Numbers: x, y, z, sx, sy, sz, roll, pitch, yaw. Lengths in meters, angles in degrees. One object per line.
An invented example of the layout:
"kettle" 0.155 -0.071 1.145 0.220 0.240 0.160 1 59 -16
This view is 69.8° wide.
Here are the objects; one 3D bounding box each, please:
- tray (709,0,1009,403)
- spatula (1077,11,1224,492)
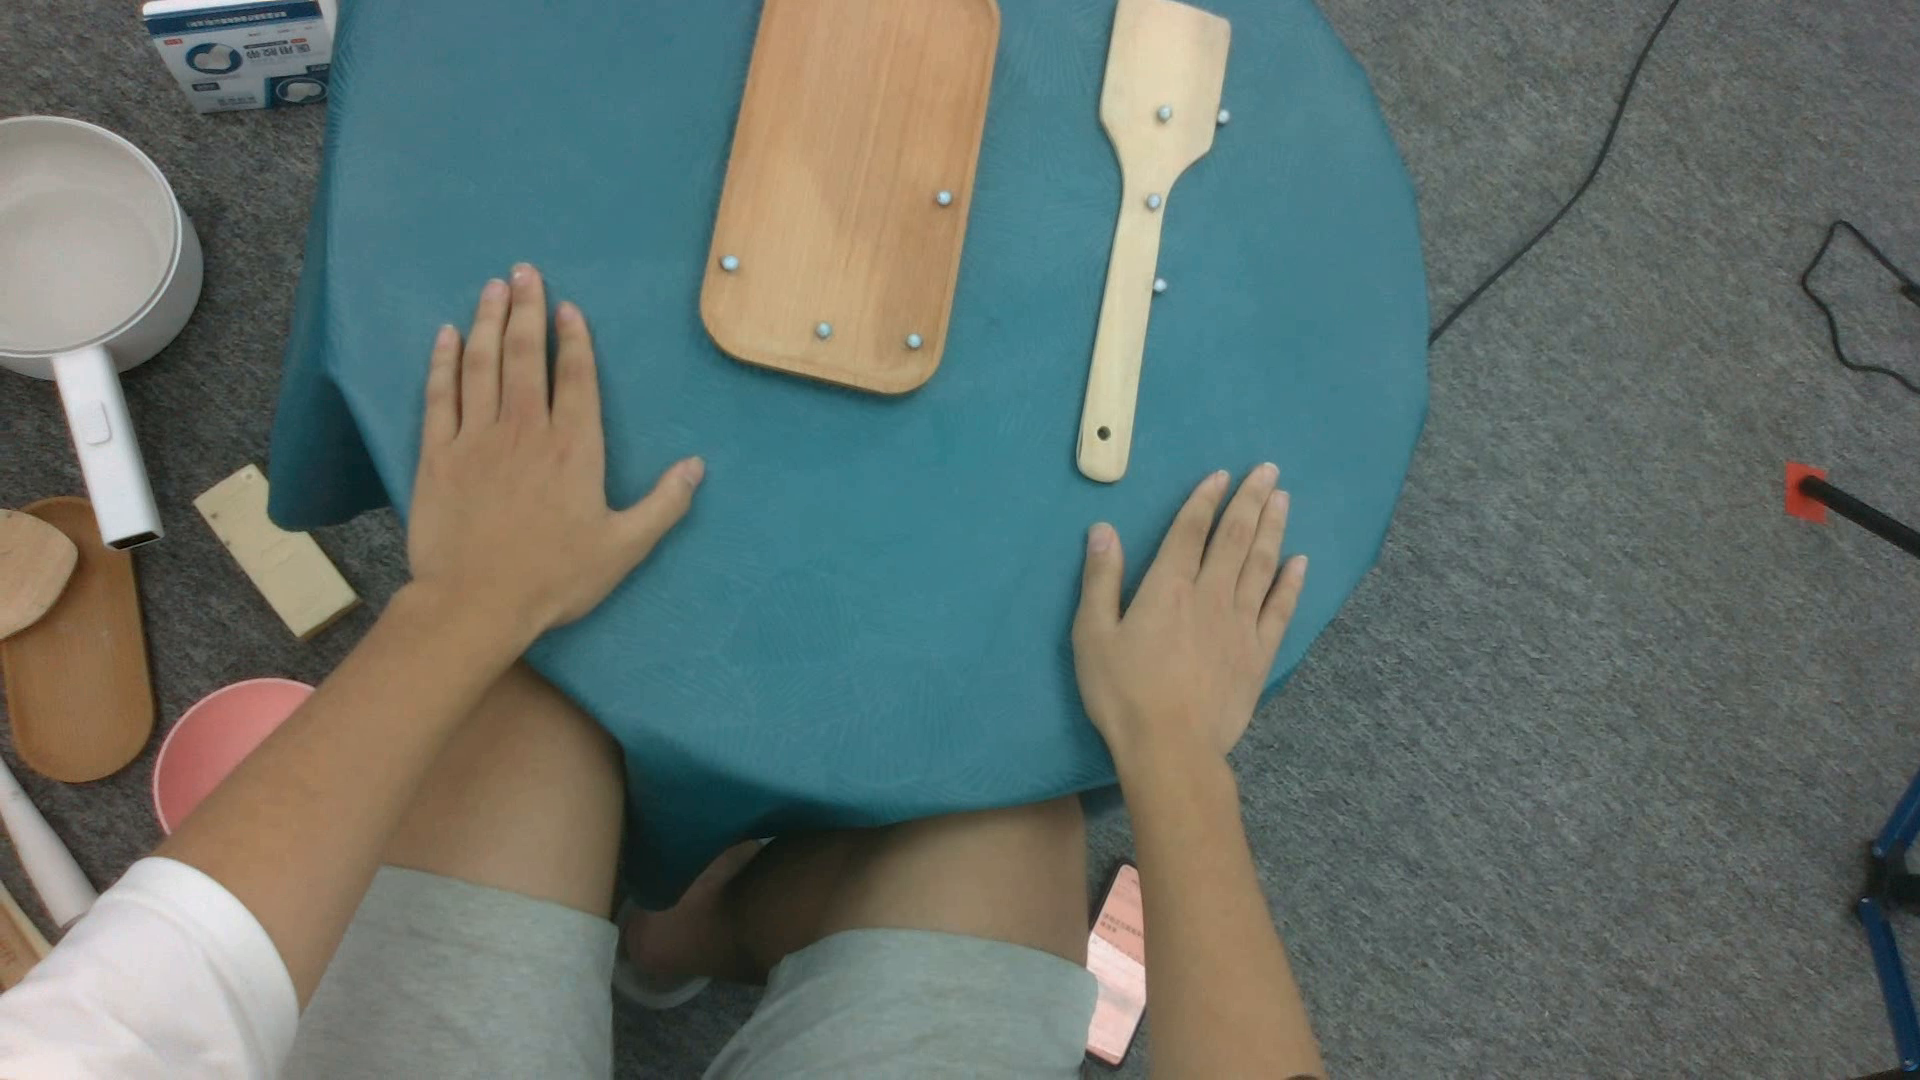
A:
"tray" -0.052 -0.200 0.752 0.130 0.023 0.251 14 75 -12
"spatula" 0.101 -0.166 0.783 0.072 0.010 0.293 13 75 -11
